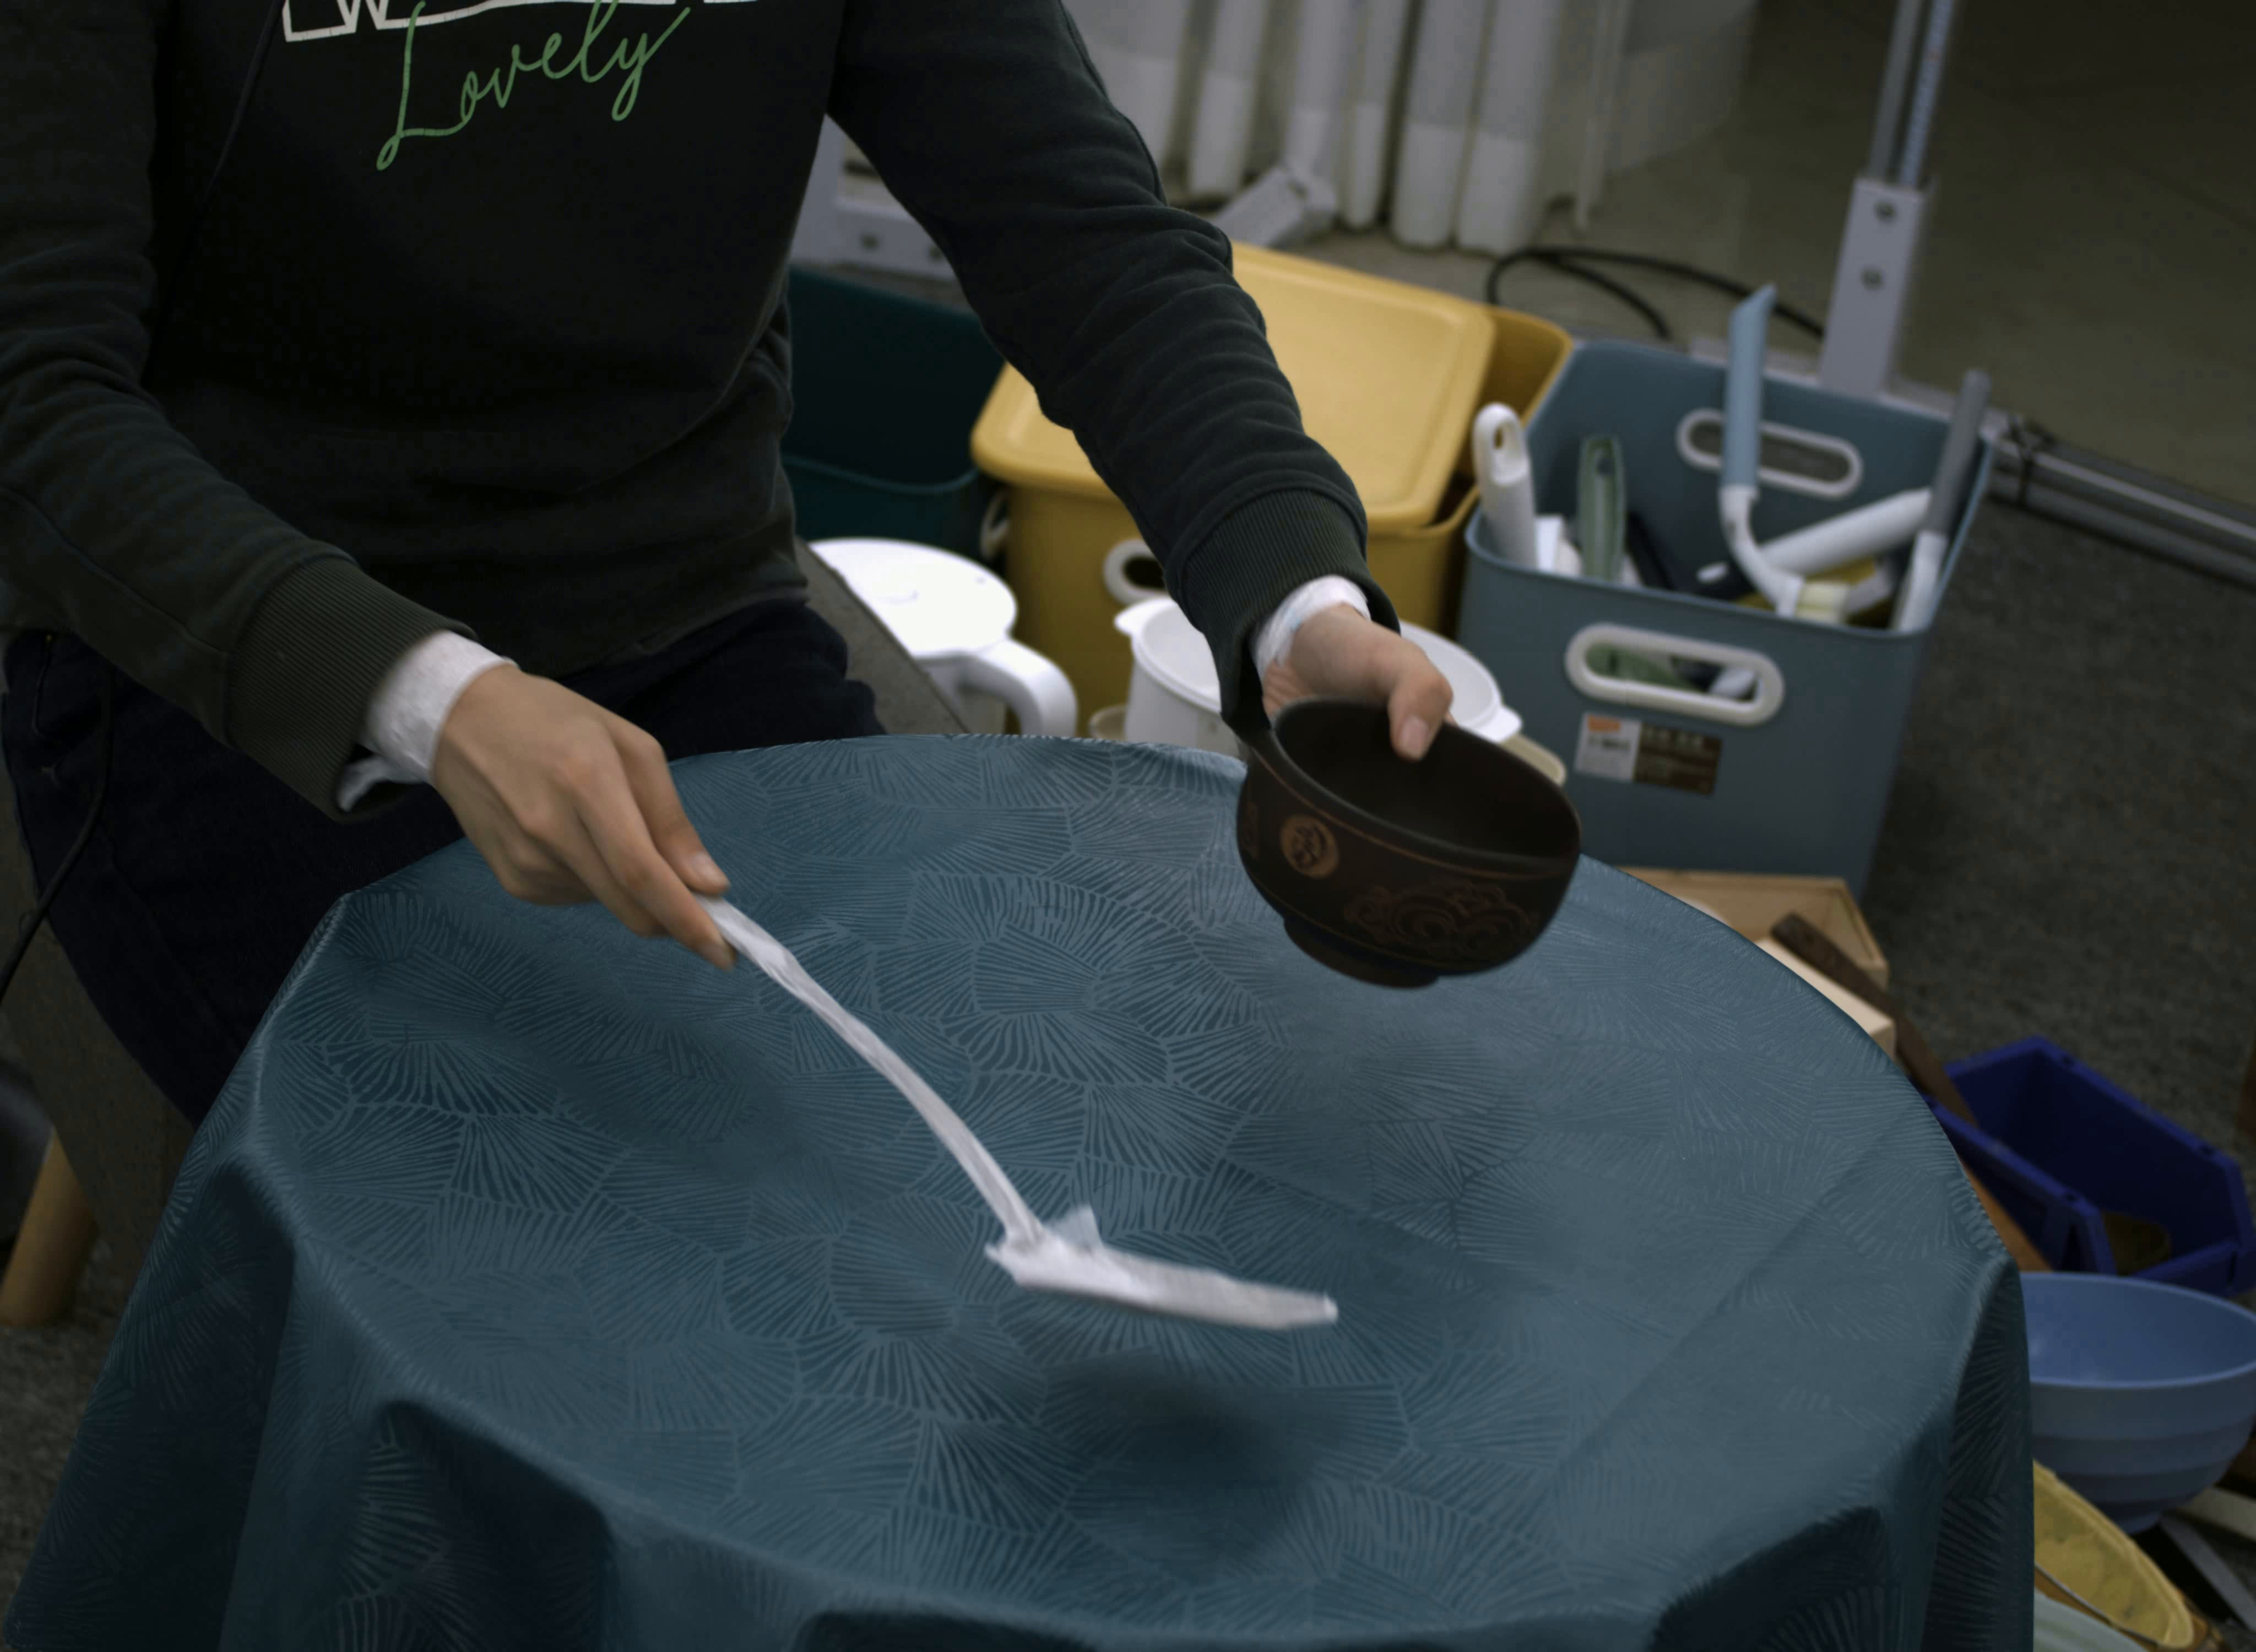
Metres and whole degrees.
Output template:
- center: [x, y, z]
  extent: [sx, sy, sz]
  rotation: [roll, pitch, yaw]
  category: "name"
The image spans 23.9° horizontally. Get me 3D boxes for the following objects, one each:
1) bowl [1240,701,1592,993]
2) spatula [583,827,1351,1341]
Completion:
- center: [0.092, 0.013, 1.811]
  extent: [0.117, 0.070, 0.118]
  rotation: [18, 20, -7]
  category: "bowl"
- center: [-0.073, 0.077, 1.735]
  extent: [0.098, 0.045, 0.368]
  rotation: [4, 28, -47]
  category: "spatula"
